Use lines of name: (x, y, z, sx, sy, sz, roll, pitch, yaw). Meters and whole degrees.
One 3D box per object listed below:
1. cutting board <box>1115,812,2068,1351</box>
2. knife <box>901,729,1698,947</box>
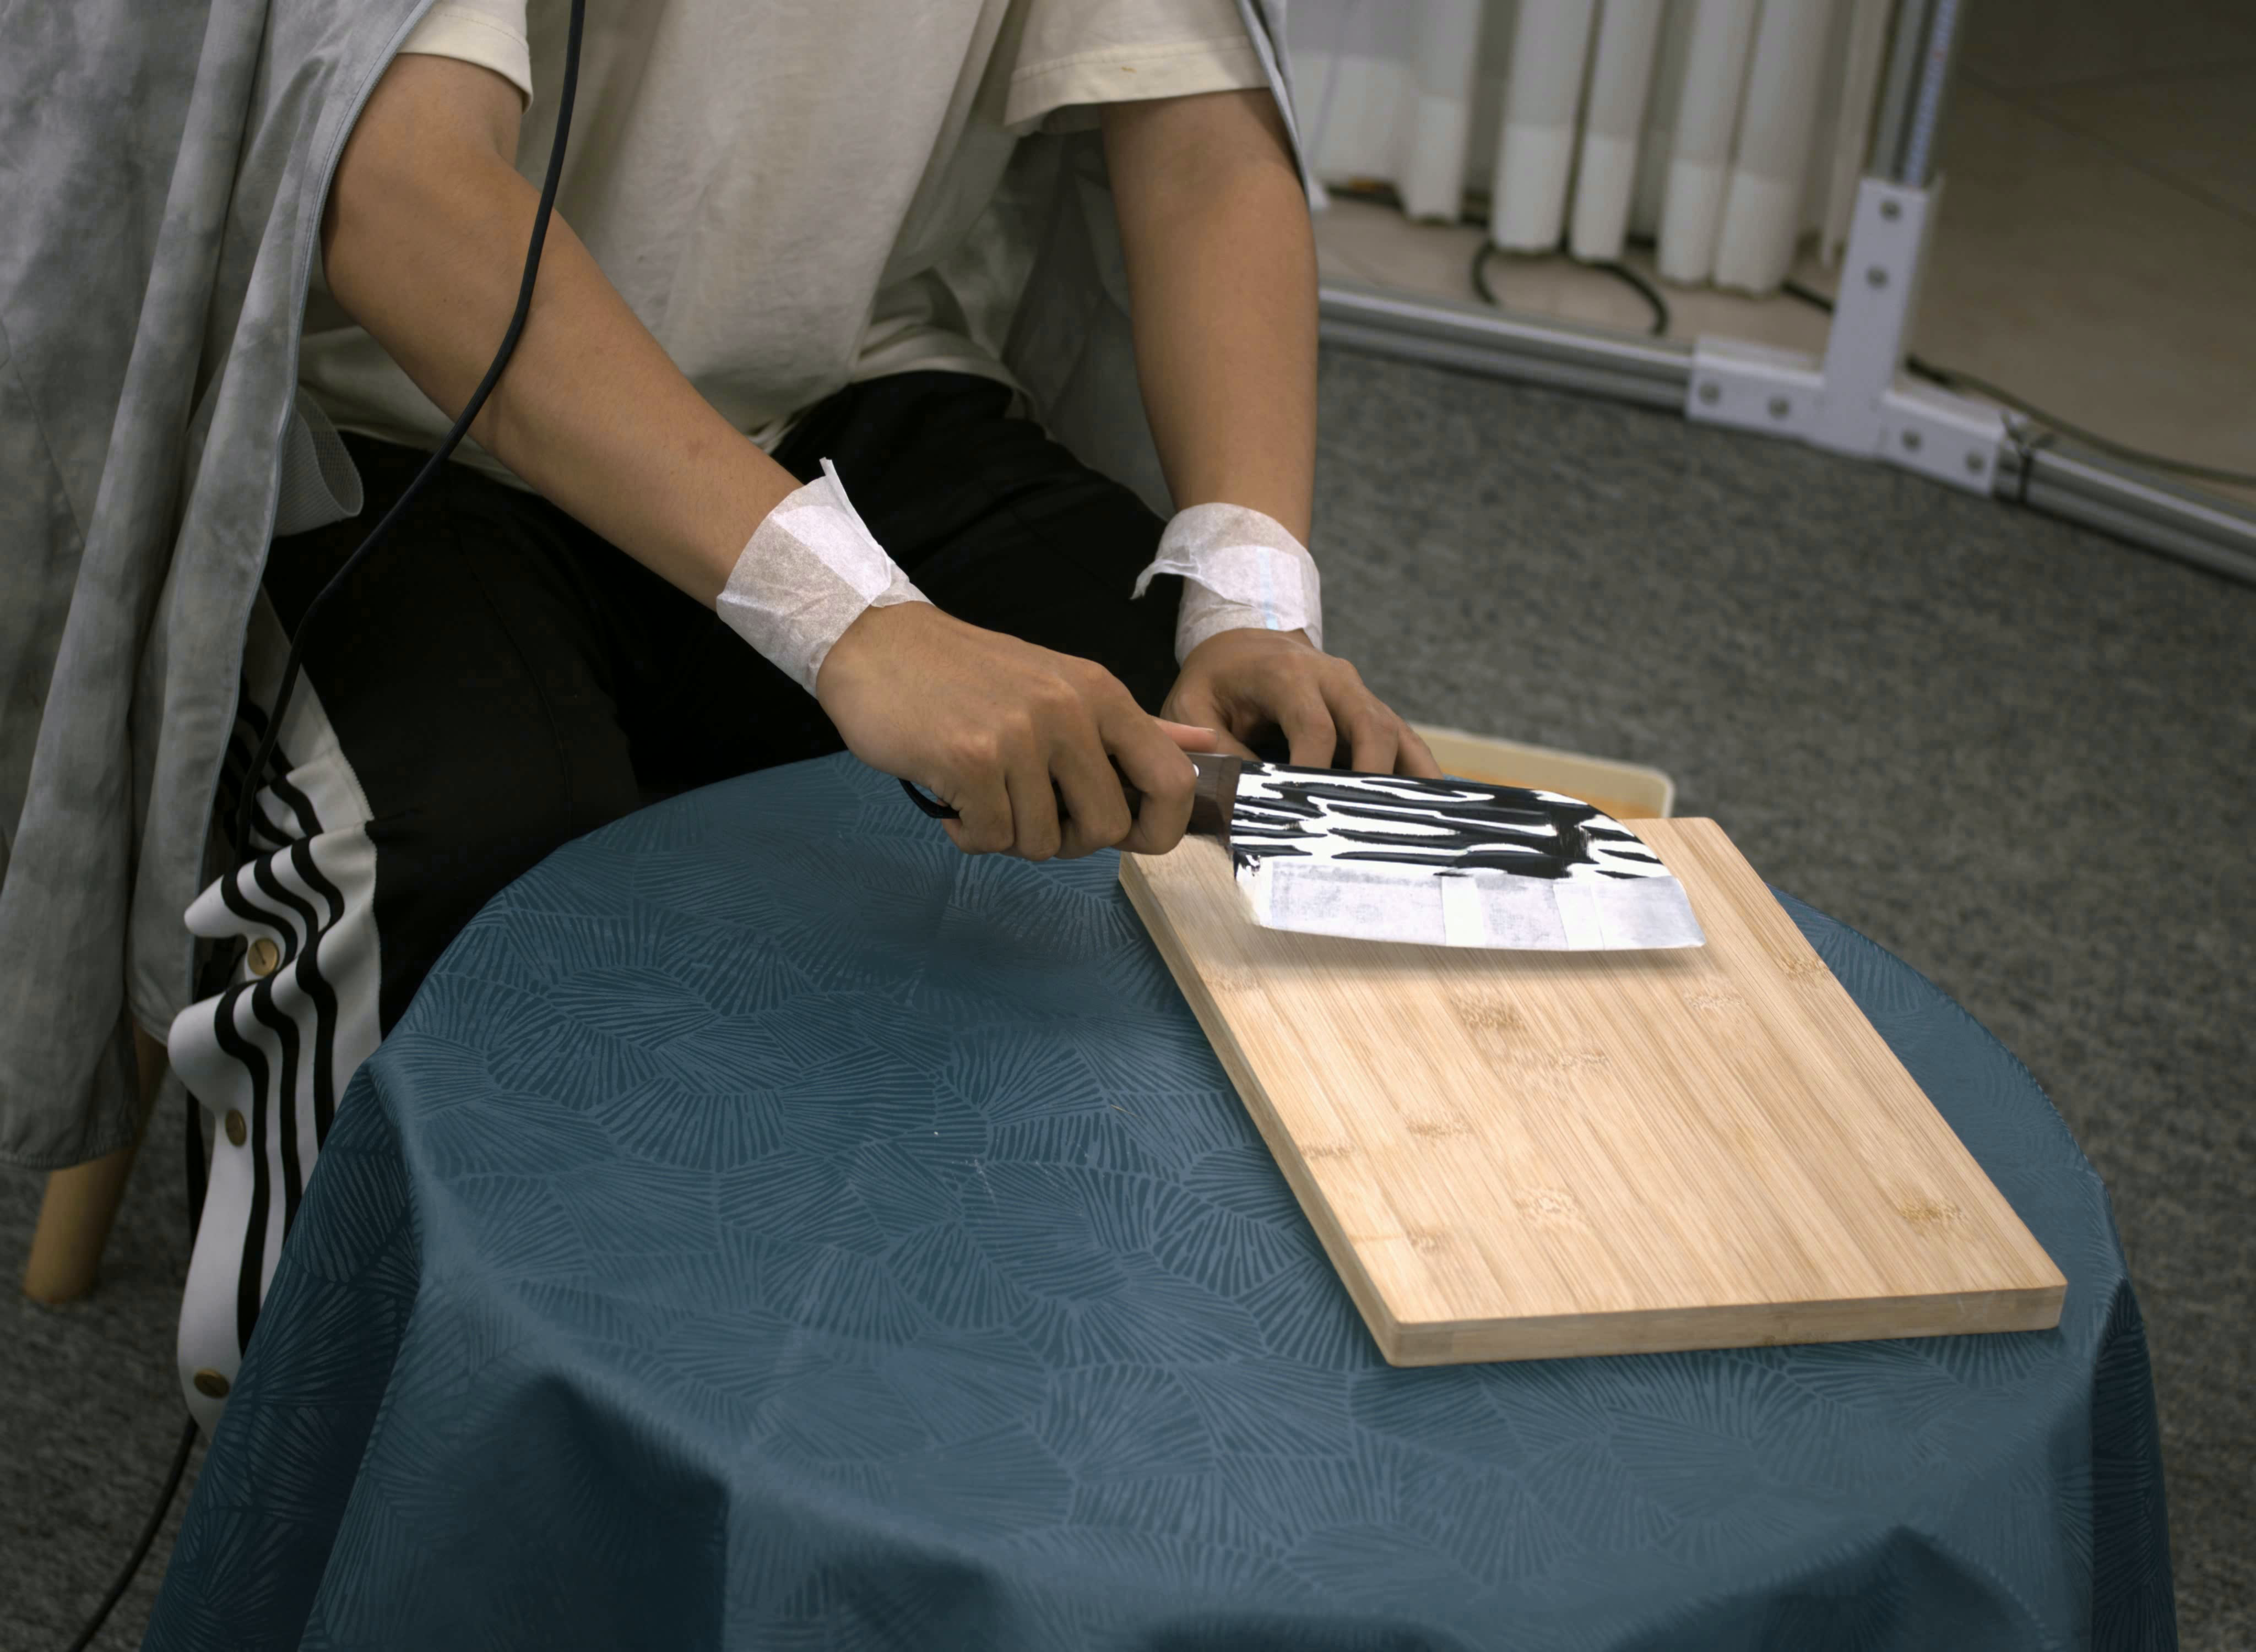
cutting board: (0.155, 0.085, 1.899, 0.249, 0.023, 0.351, -2, 28, -17)
knife: (0.064, 0.007, 1.929, 0.298, 0.024, 0.068, 6, 62, -12)
